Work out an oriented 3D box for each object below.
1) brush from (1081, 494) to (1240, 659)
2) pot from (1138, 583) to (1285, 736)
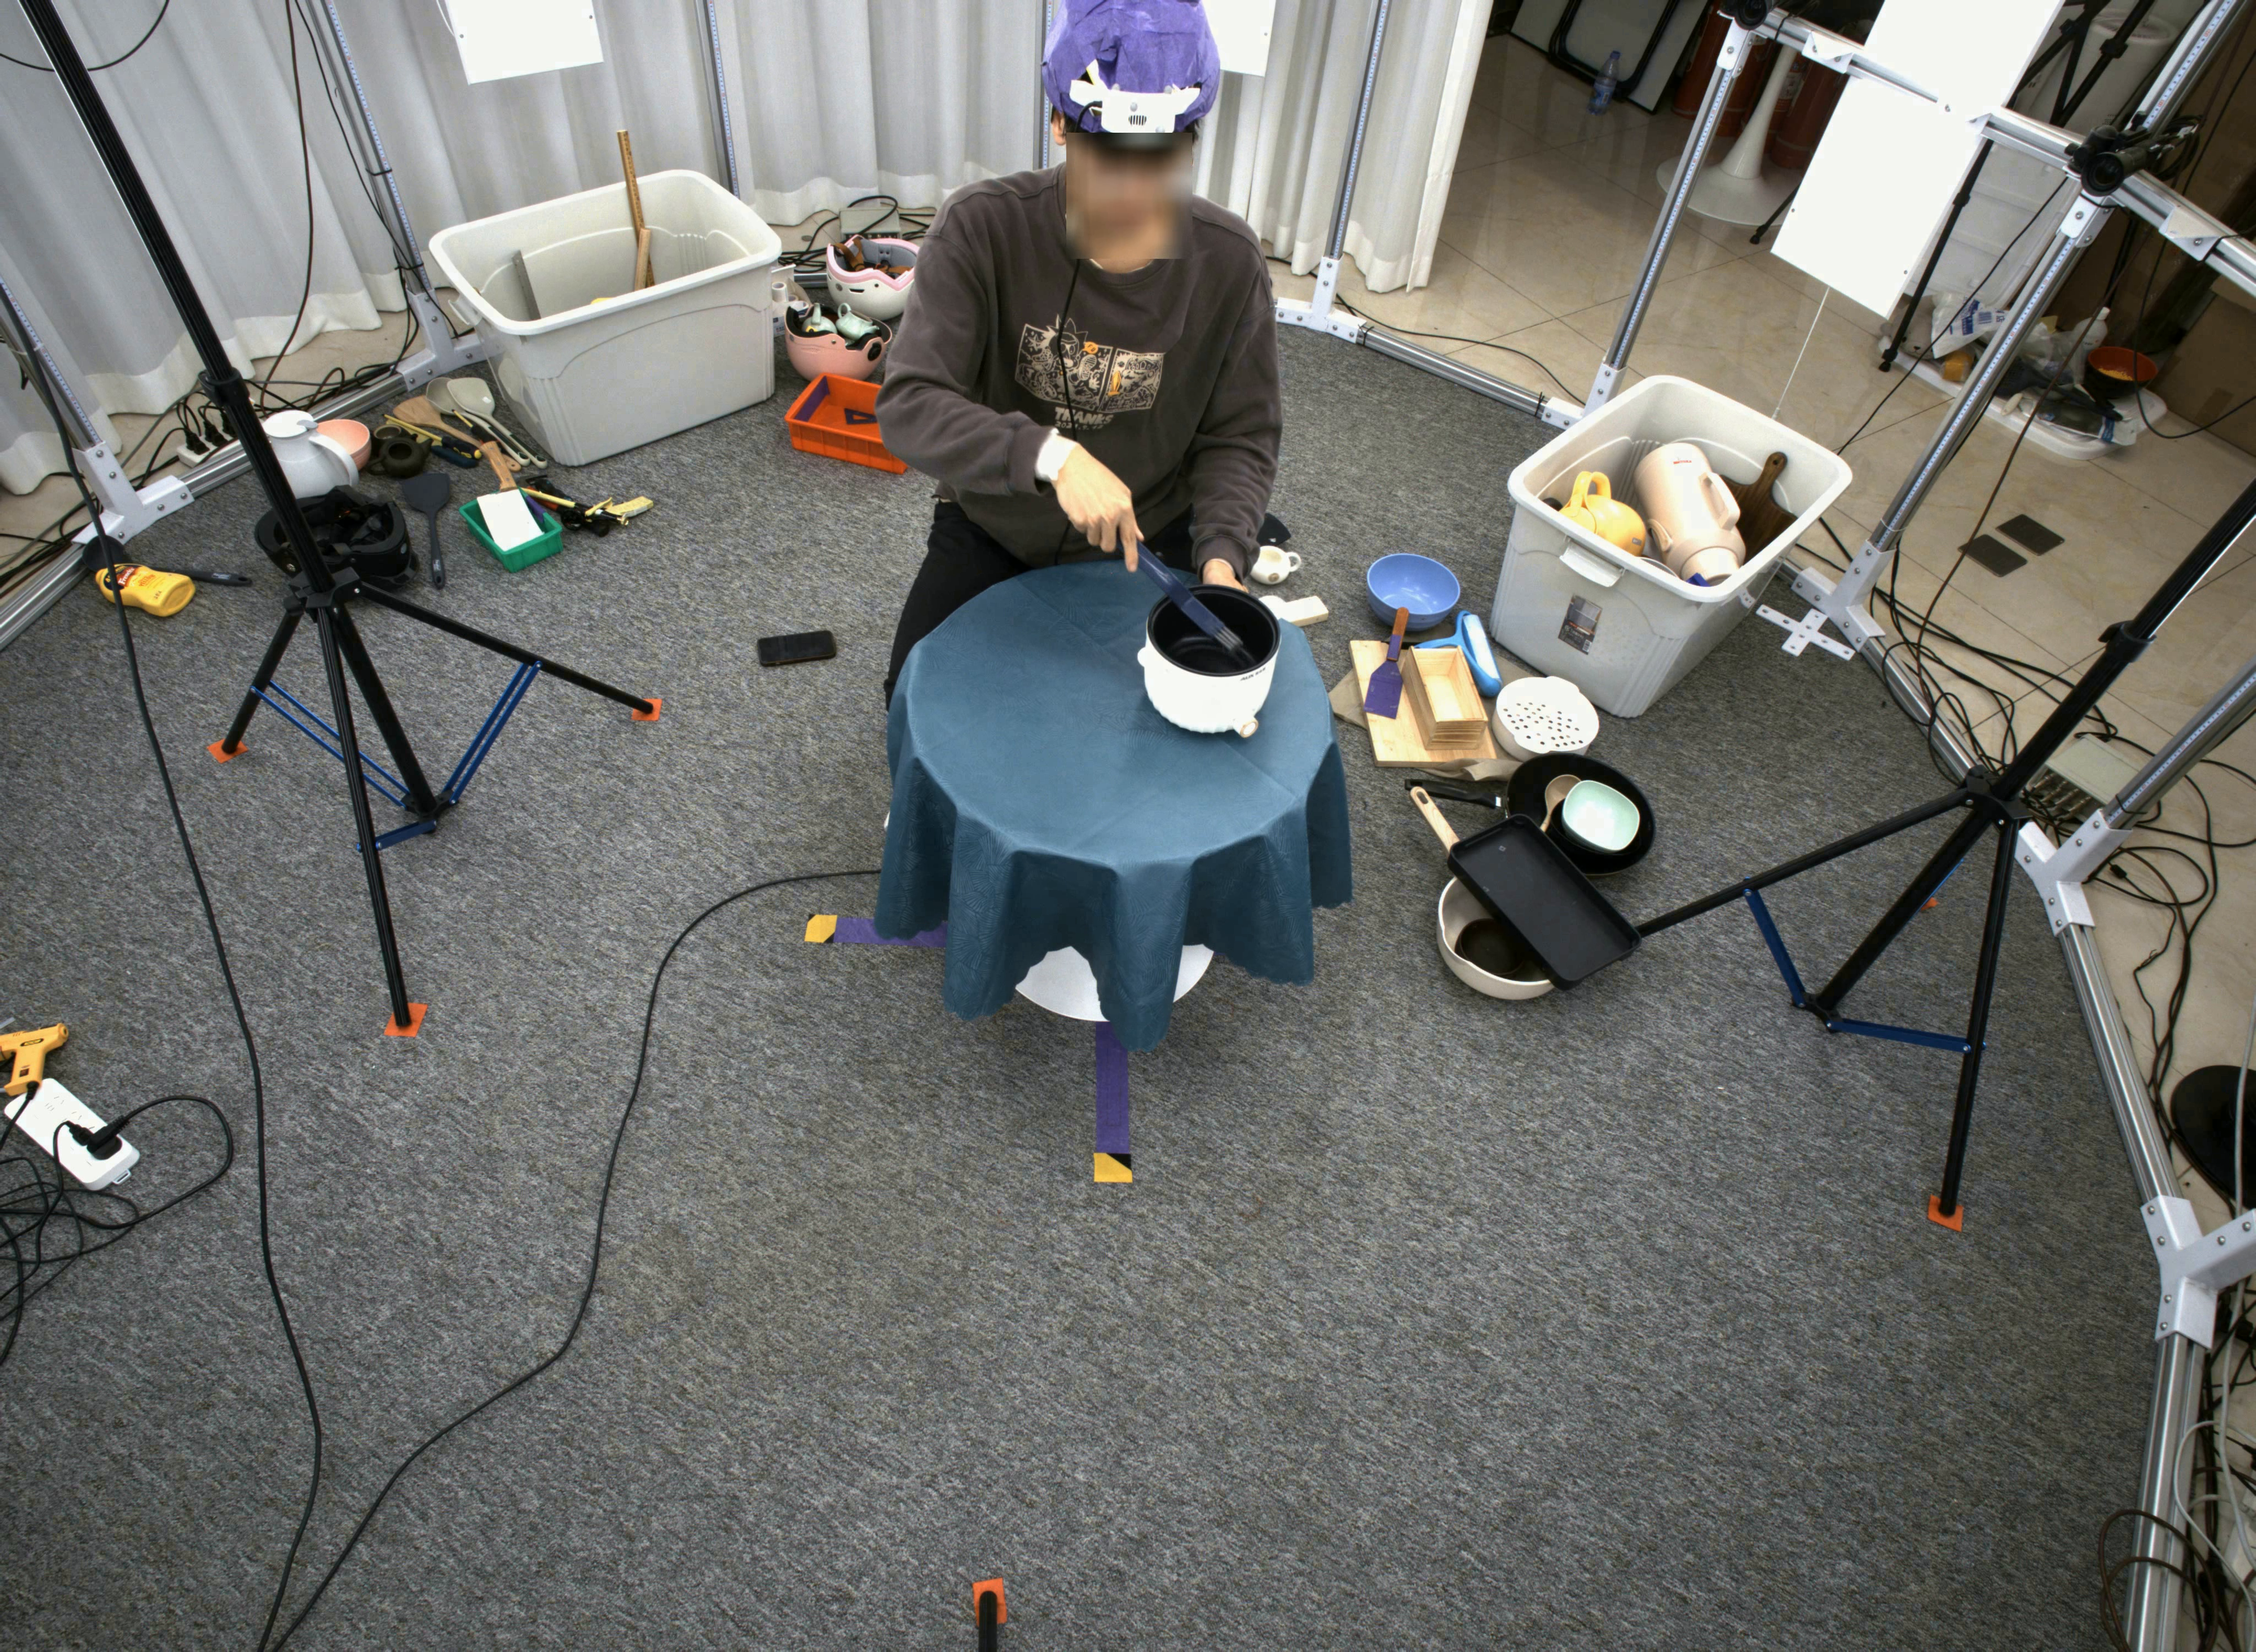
[{"bbox_3d":[0.047,-0.331,1.719,0.033,0.269,0.097,-46,26,5],"label":"brush"},{"bbox_3d":[0.118,-0.222,1.776,0.241,0.139,0.194,-27,52,-22],"label":"pot"}]
